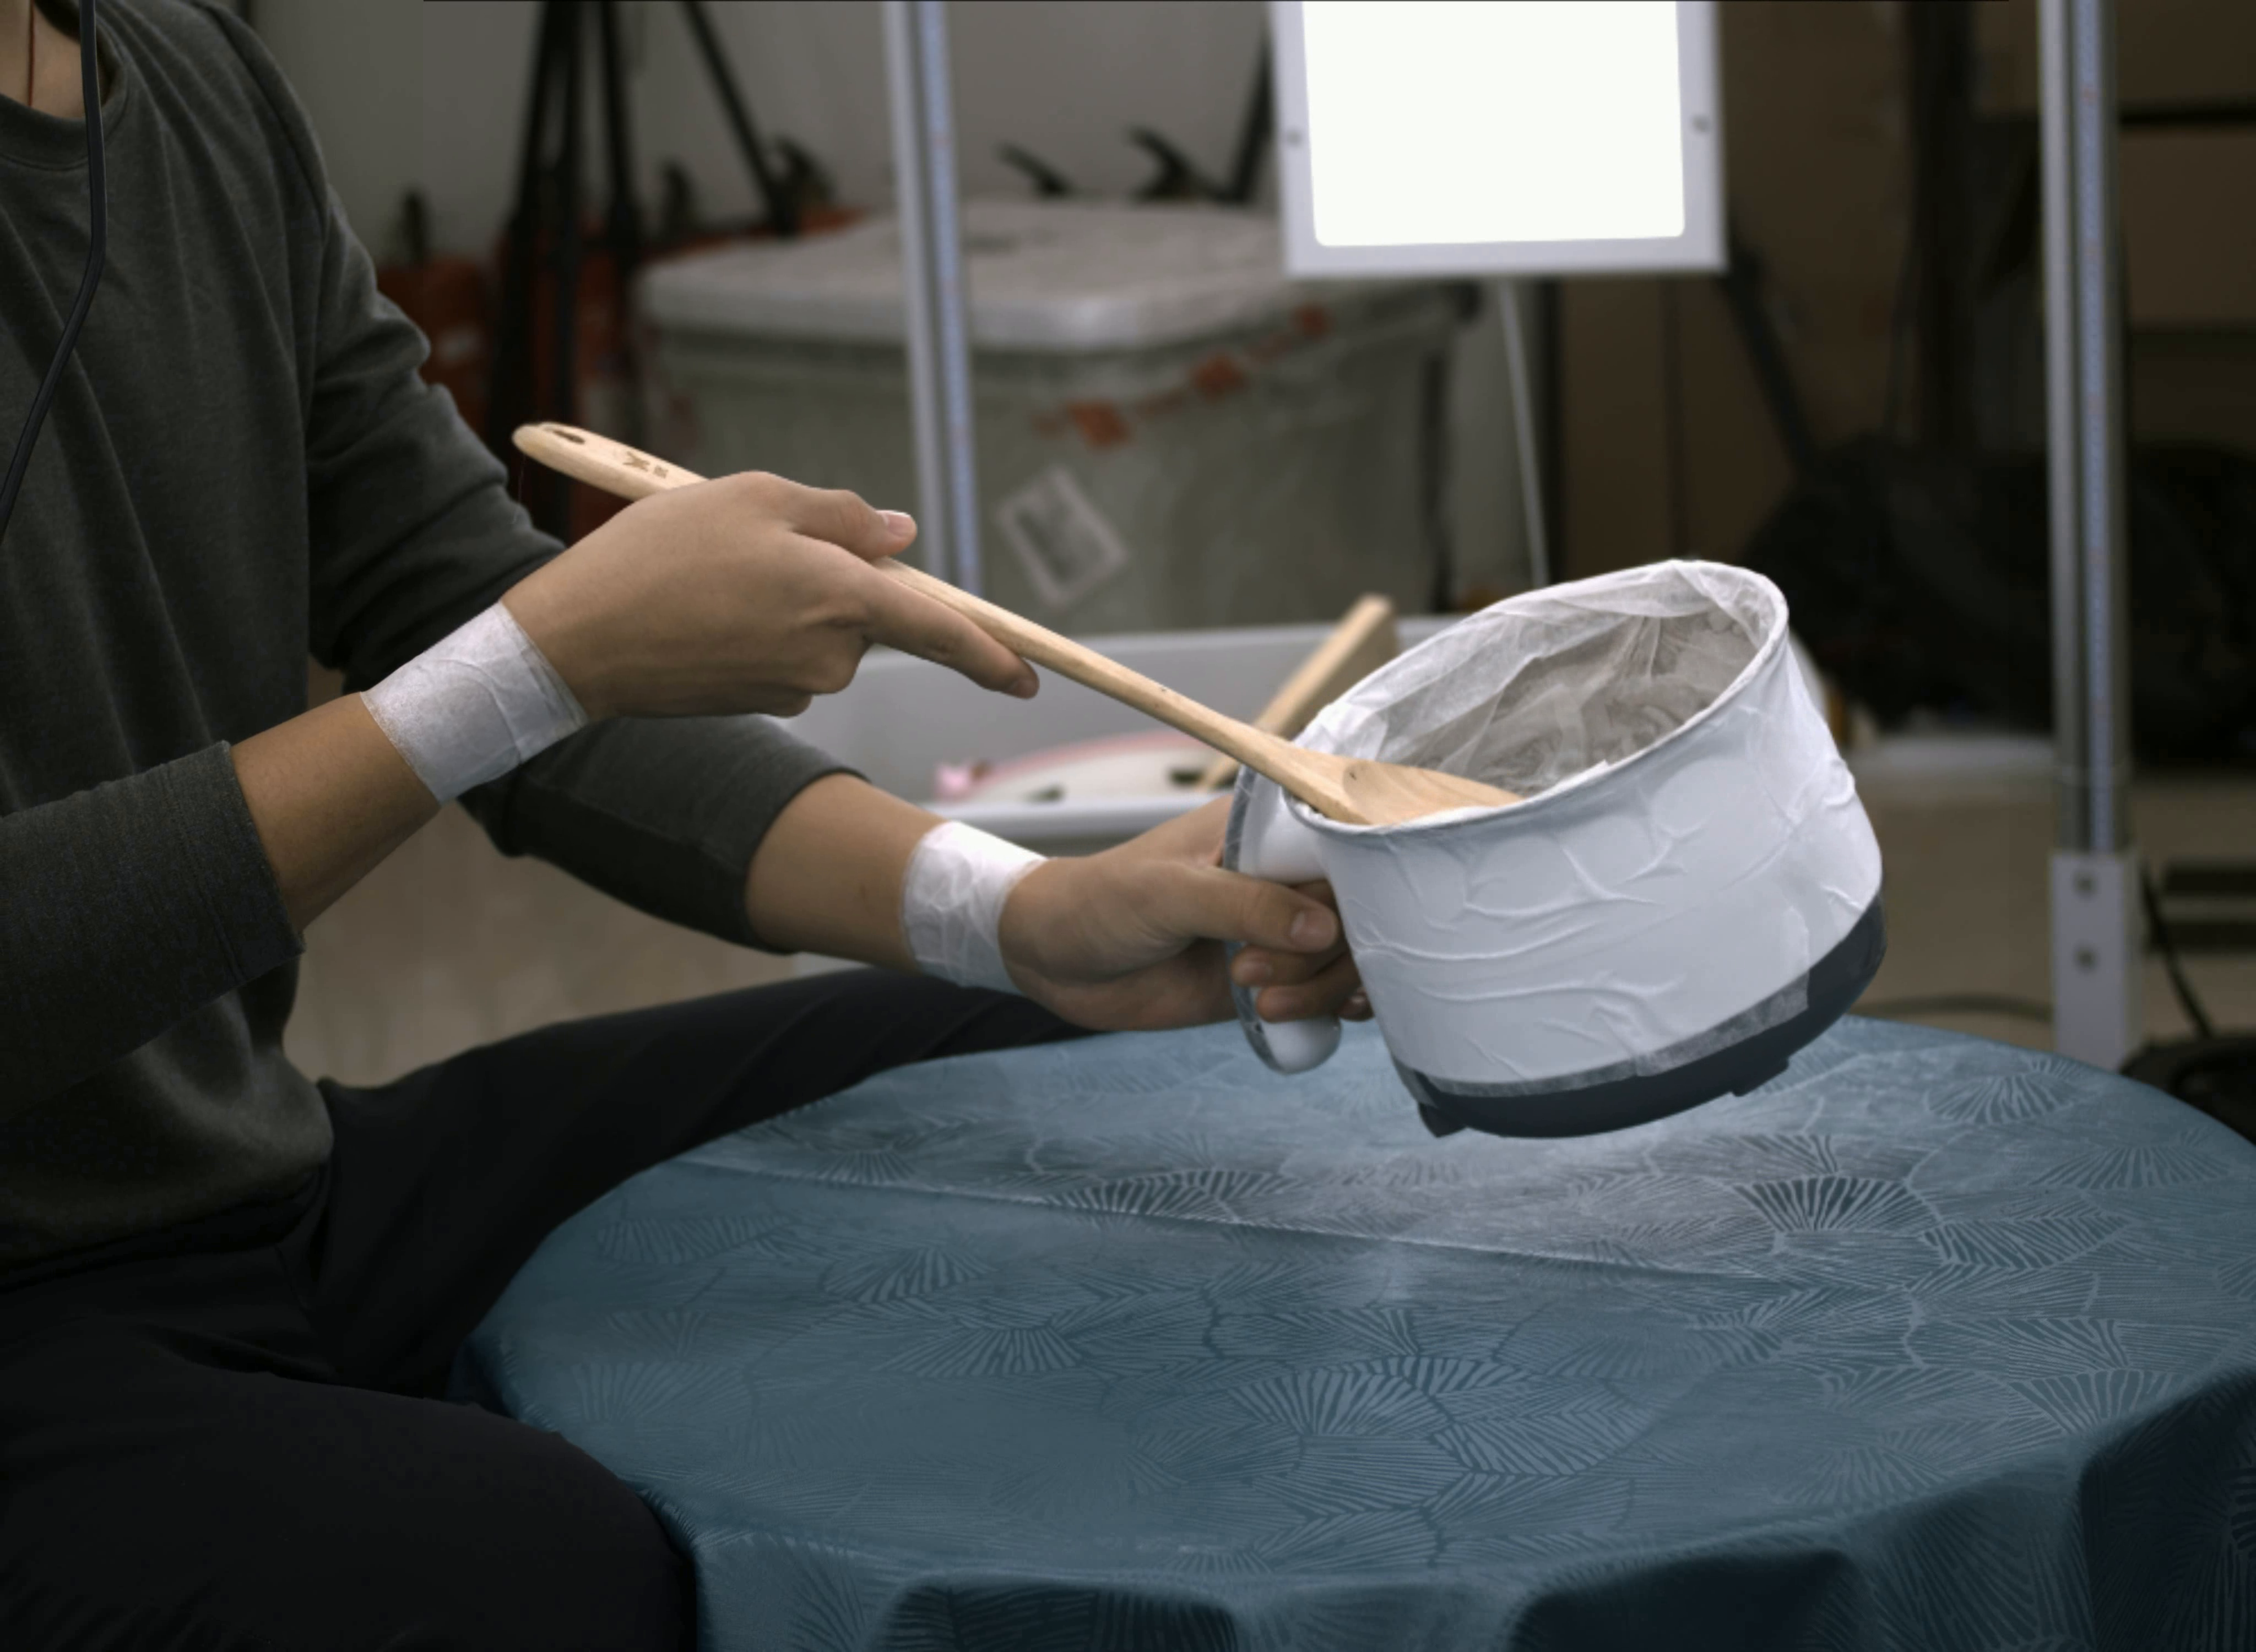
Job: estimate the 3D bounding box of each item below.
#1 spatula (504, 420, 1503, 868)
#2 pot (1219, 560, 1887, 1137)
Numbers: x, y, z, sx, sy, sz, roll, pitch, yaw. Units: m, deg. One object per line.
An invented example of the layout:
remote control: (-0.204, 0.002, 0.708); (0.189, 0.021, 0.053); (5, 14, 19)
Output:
spatula: (-0.022, -0.054, 1.794); (0.388, 0.018, 0.095); (23, 17, -5)
pot: (0.131, 0.015, 1.832); (0.238, 0.136, 0.176); (-13, 22, 28)
